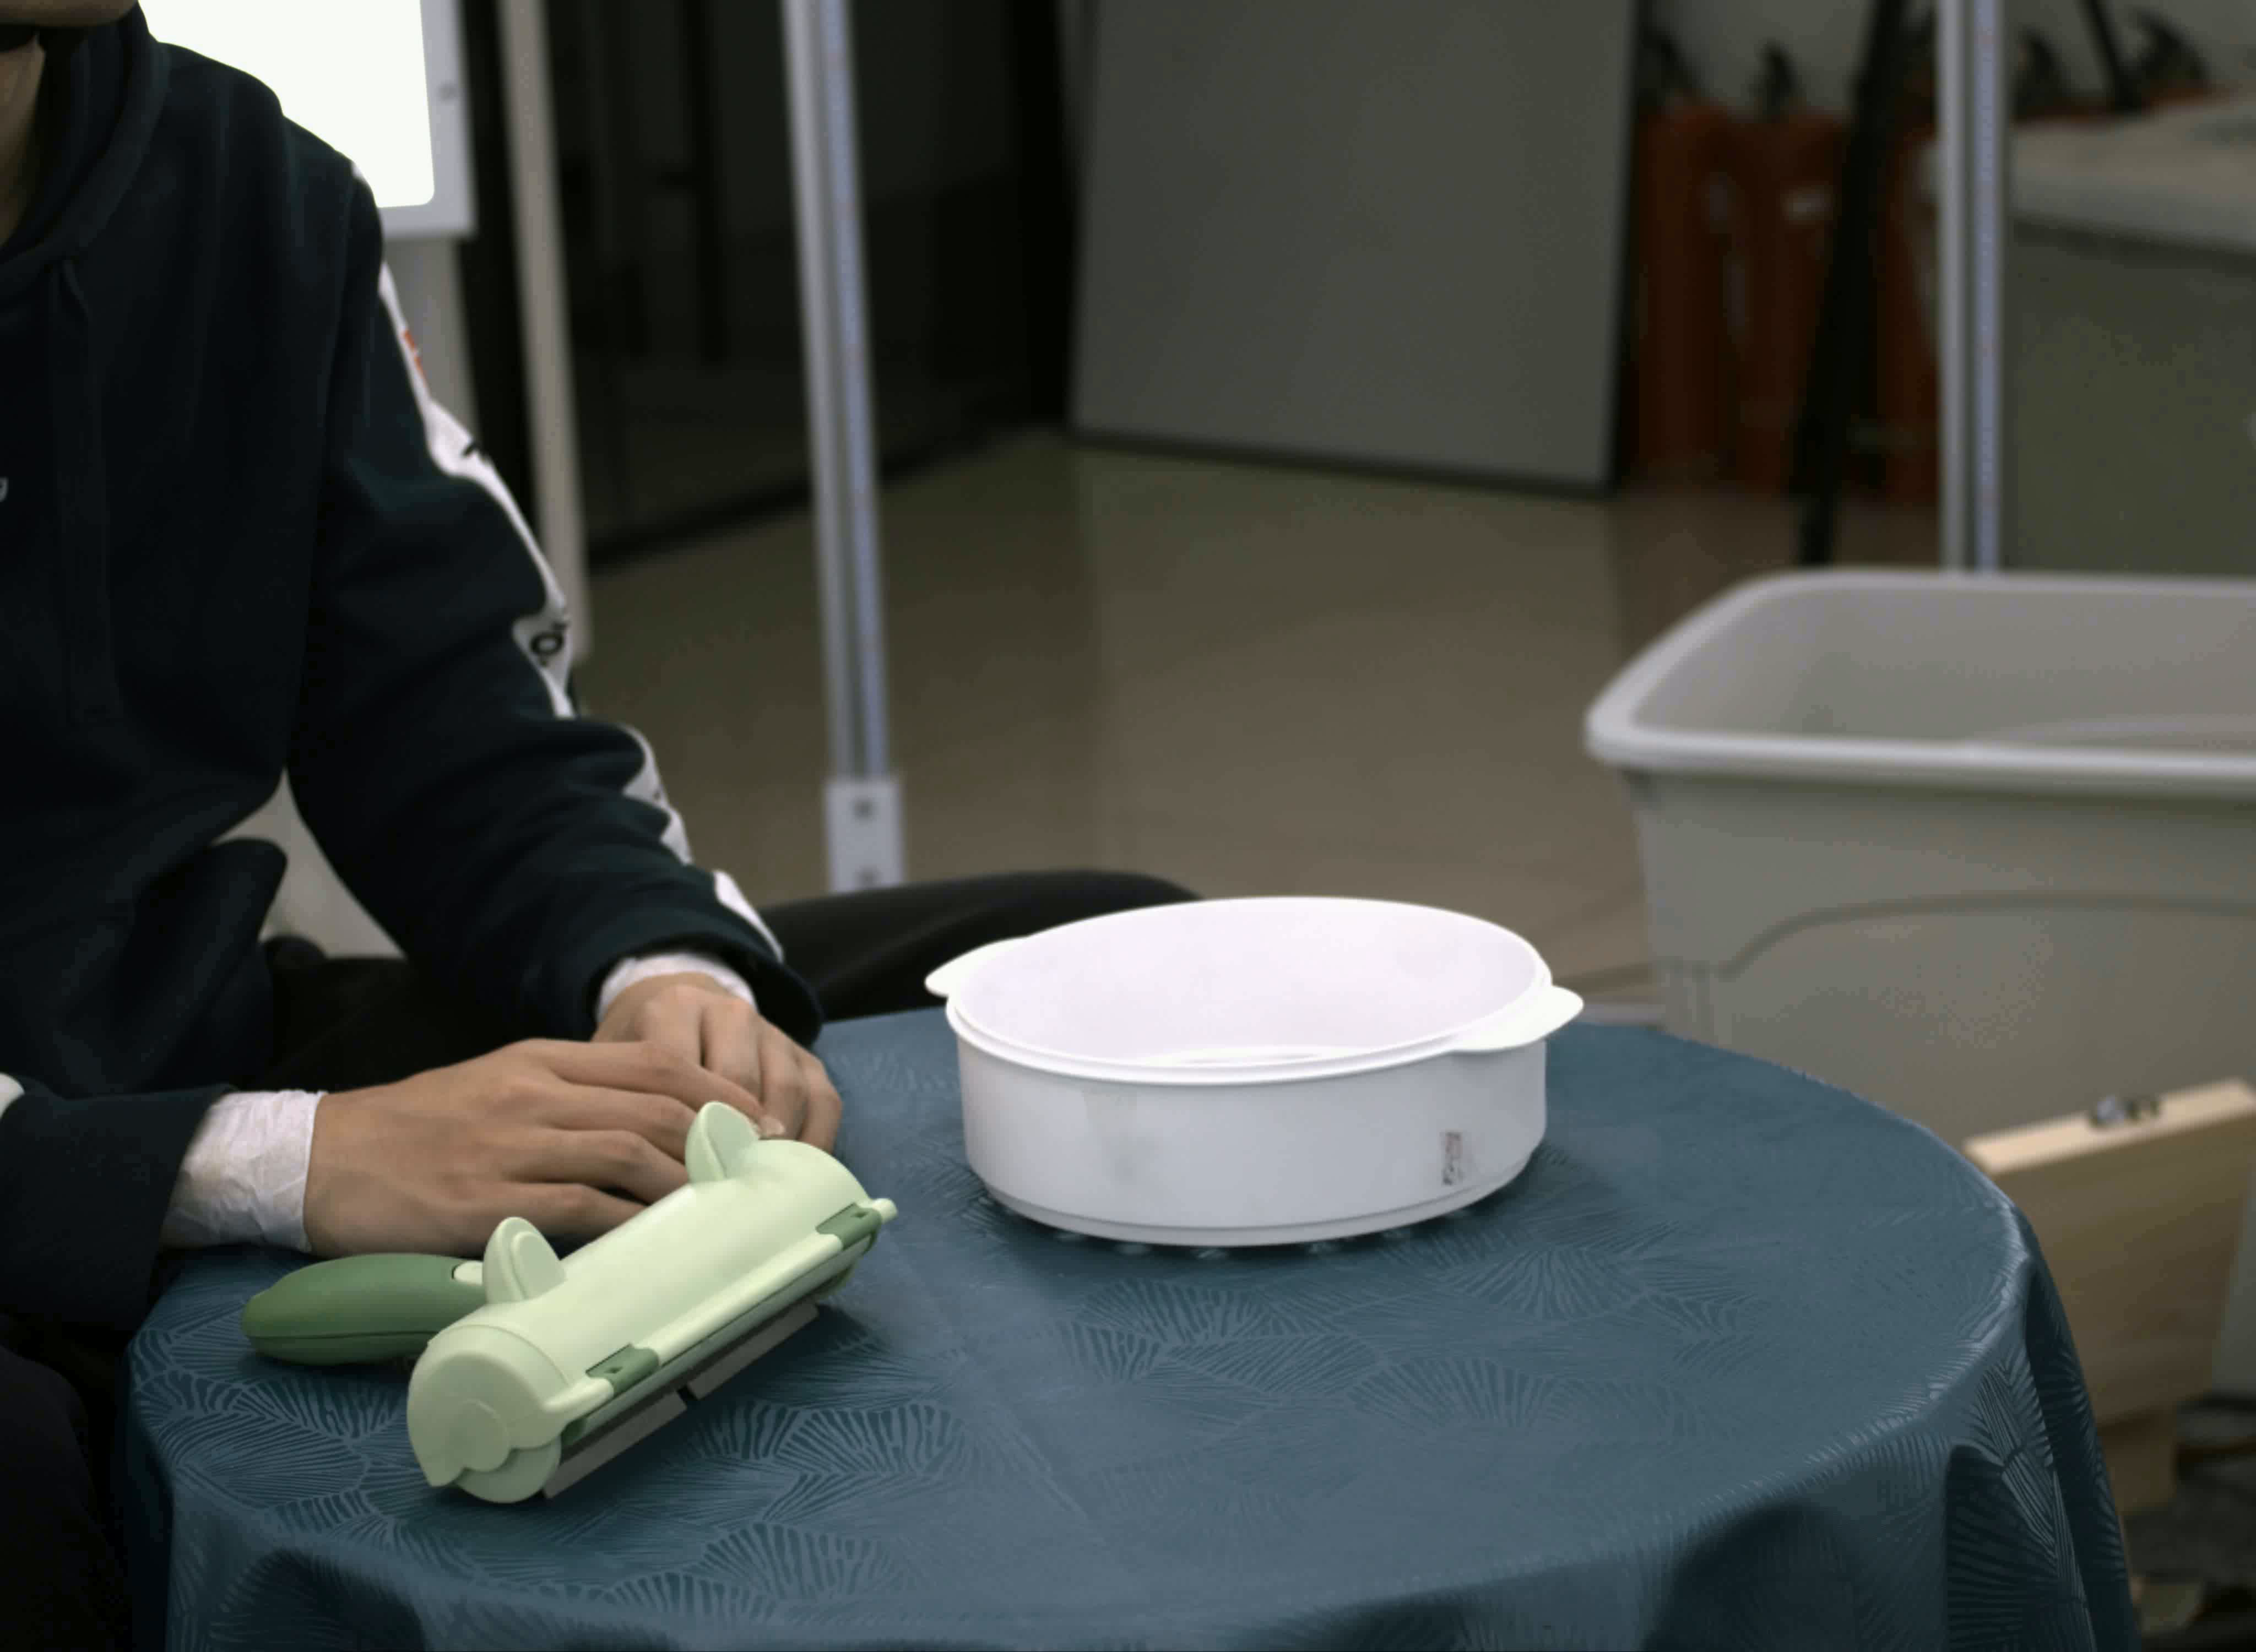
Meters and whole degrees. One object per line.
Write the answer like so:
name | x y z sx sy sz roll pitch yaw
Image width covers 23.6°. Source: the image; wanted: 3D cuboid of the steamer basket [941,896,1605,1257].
steamer basket | 0.047 0.082 1.773 0.231 0.070 0.199 6 18 29

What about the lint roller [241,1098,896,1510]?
lint roller | -0.191 0.132 1.624 0.184 0.083 0.196 7 18 26
